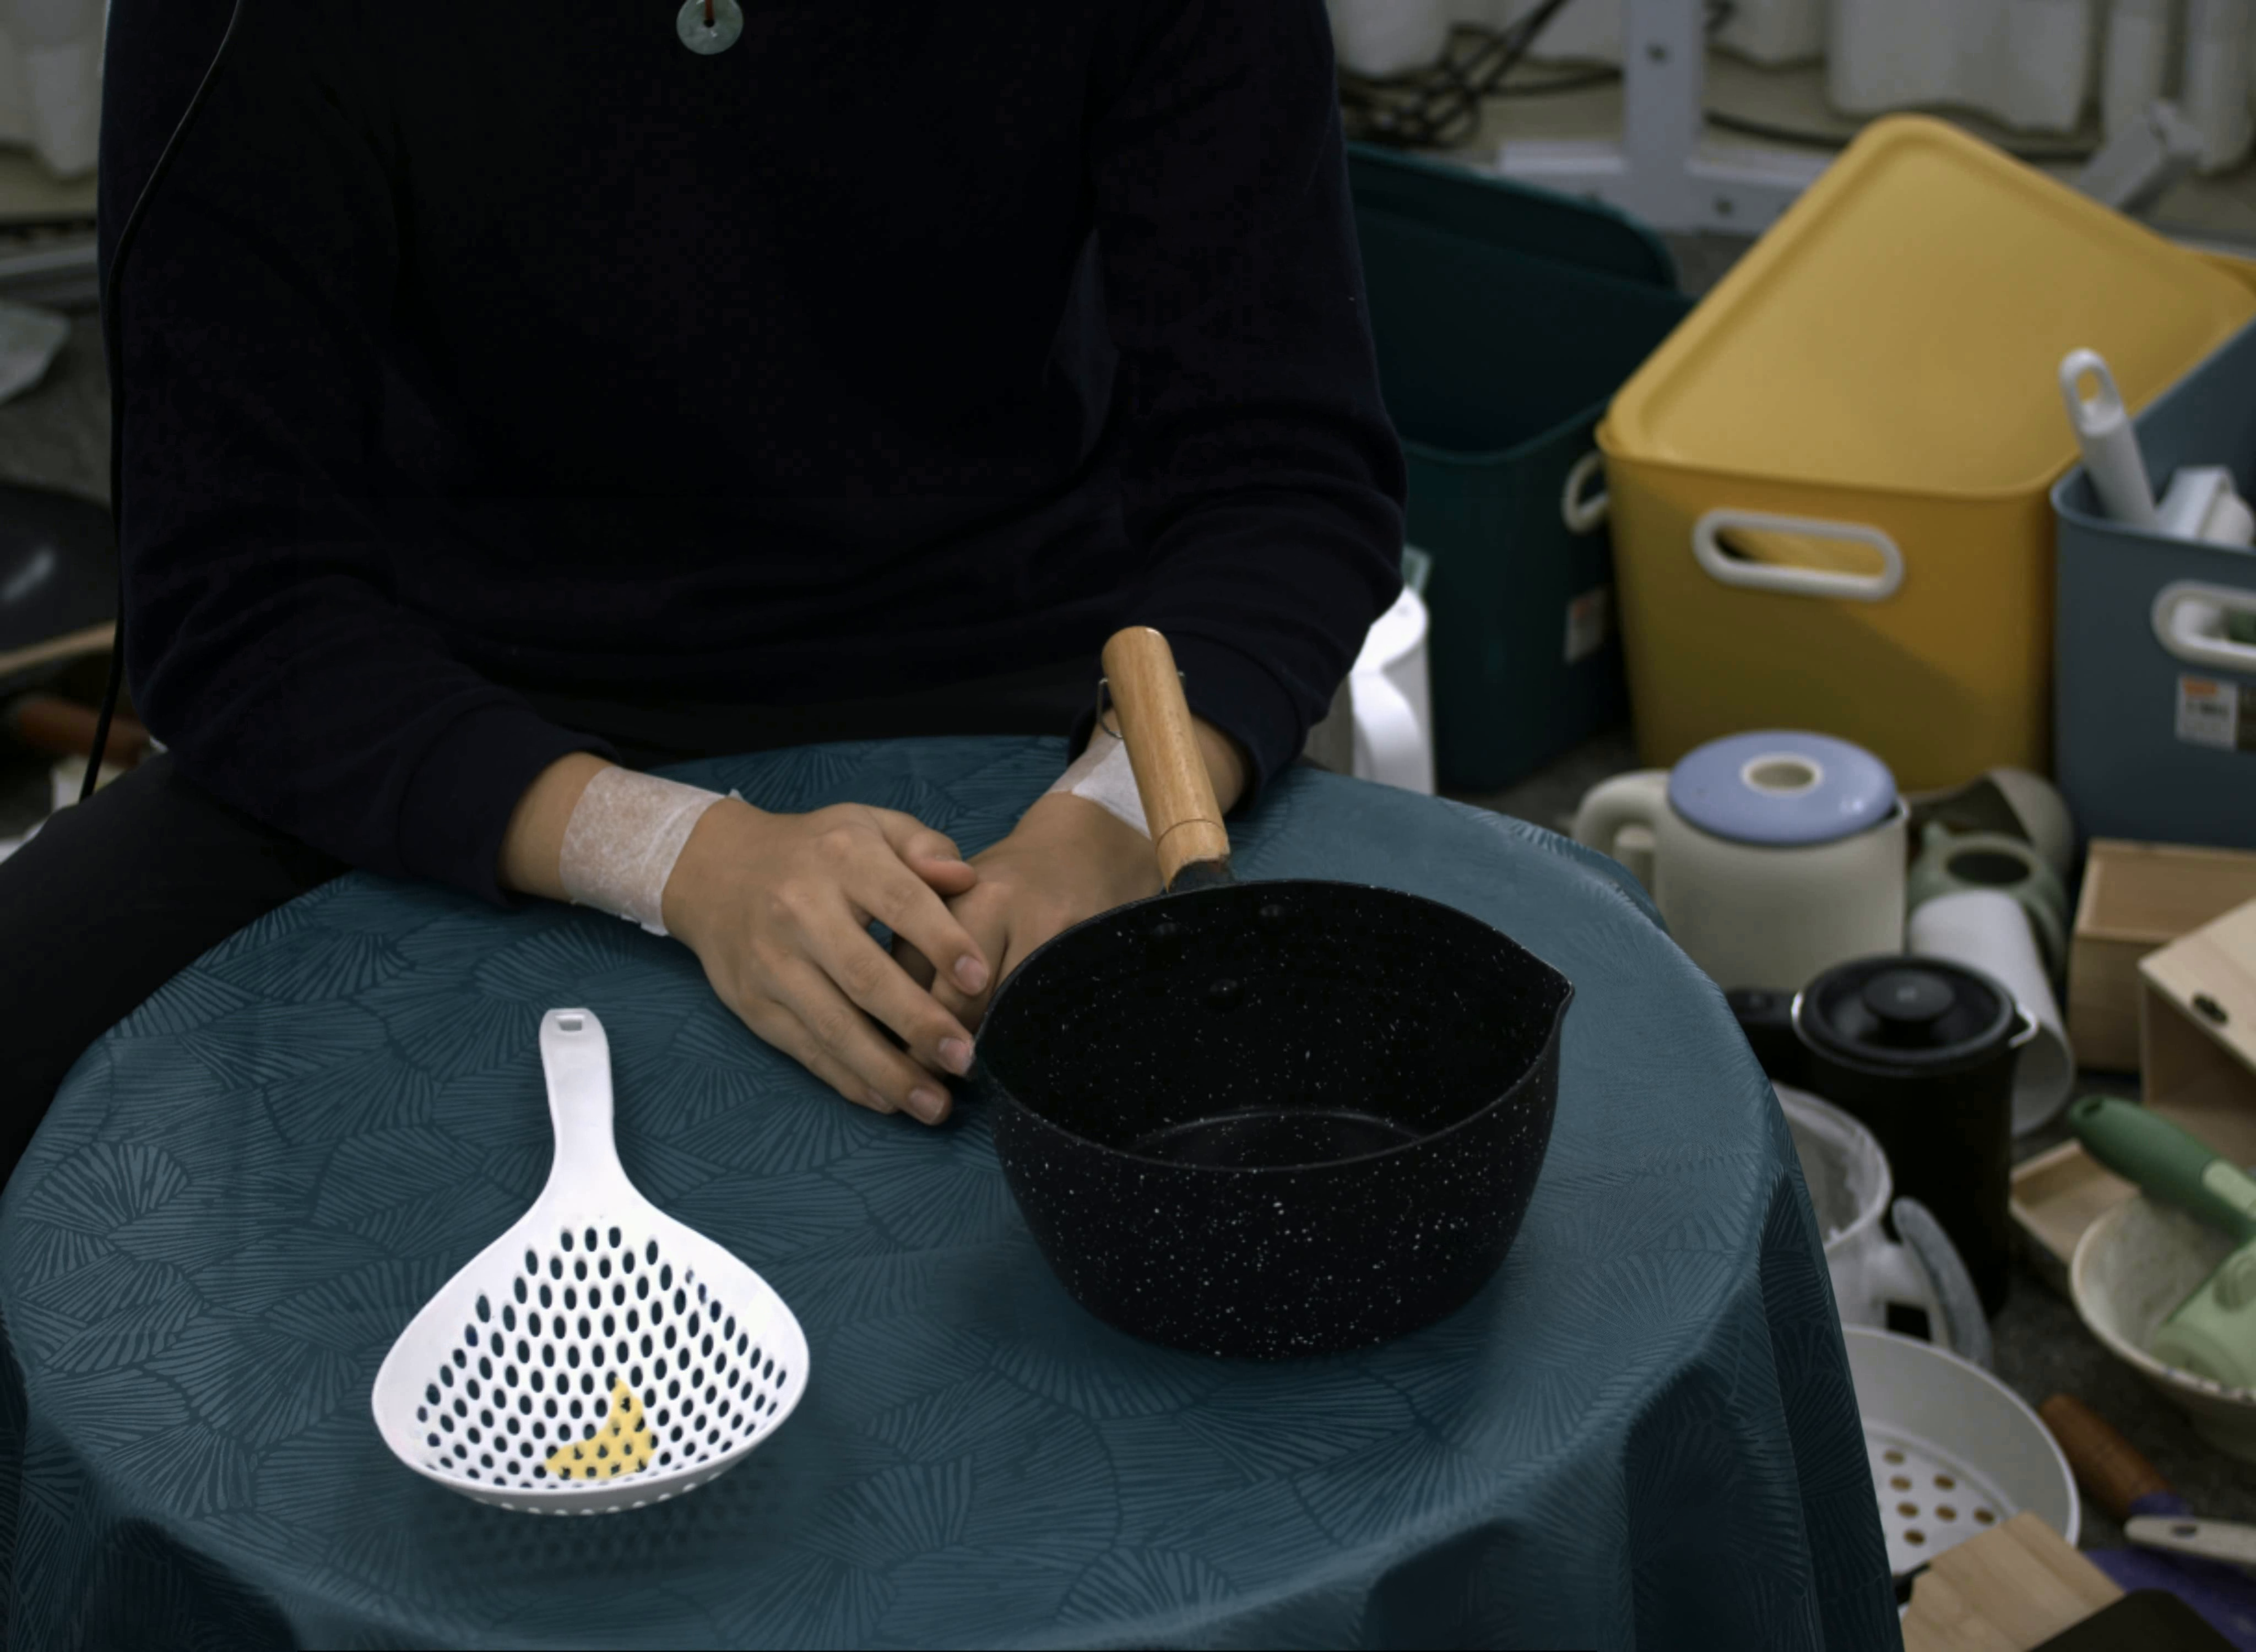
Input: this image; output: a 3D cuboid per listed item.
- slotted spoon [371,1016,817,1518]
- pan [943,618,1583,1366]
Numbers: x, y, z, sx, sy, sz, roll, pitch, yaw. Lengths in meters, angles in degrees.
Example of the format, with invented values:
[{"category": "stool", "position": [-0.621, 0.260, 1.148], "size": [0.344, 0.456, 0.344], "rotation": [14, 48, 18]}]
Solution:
[{"category": "slotted spoon", "position": [-0.177, 0.131, 1.816], "size": [0.136, 0.050, 0.352], "rotation": [-7, 29, -5]}, {"category": "pan", "position": [0.032, 0.052, 1.878], "size": [0.207, 0.107, 0.347], "rotation": [-8, 29, -8]}]
